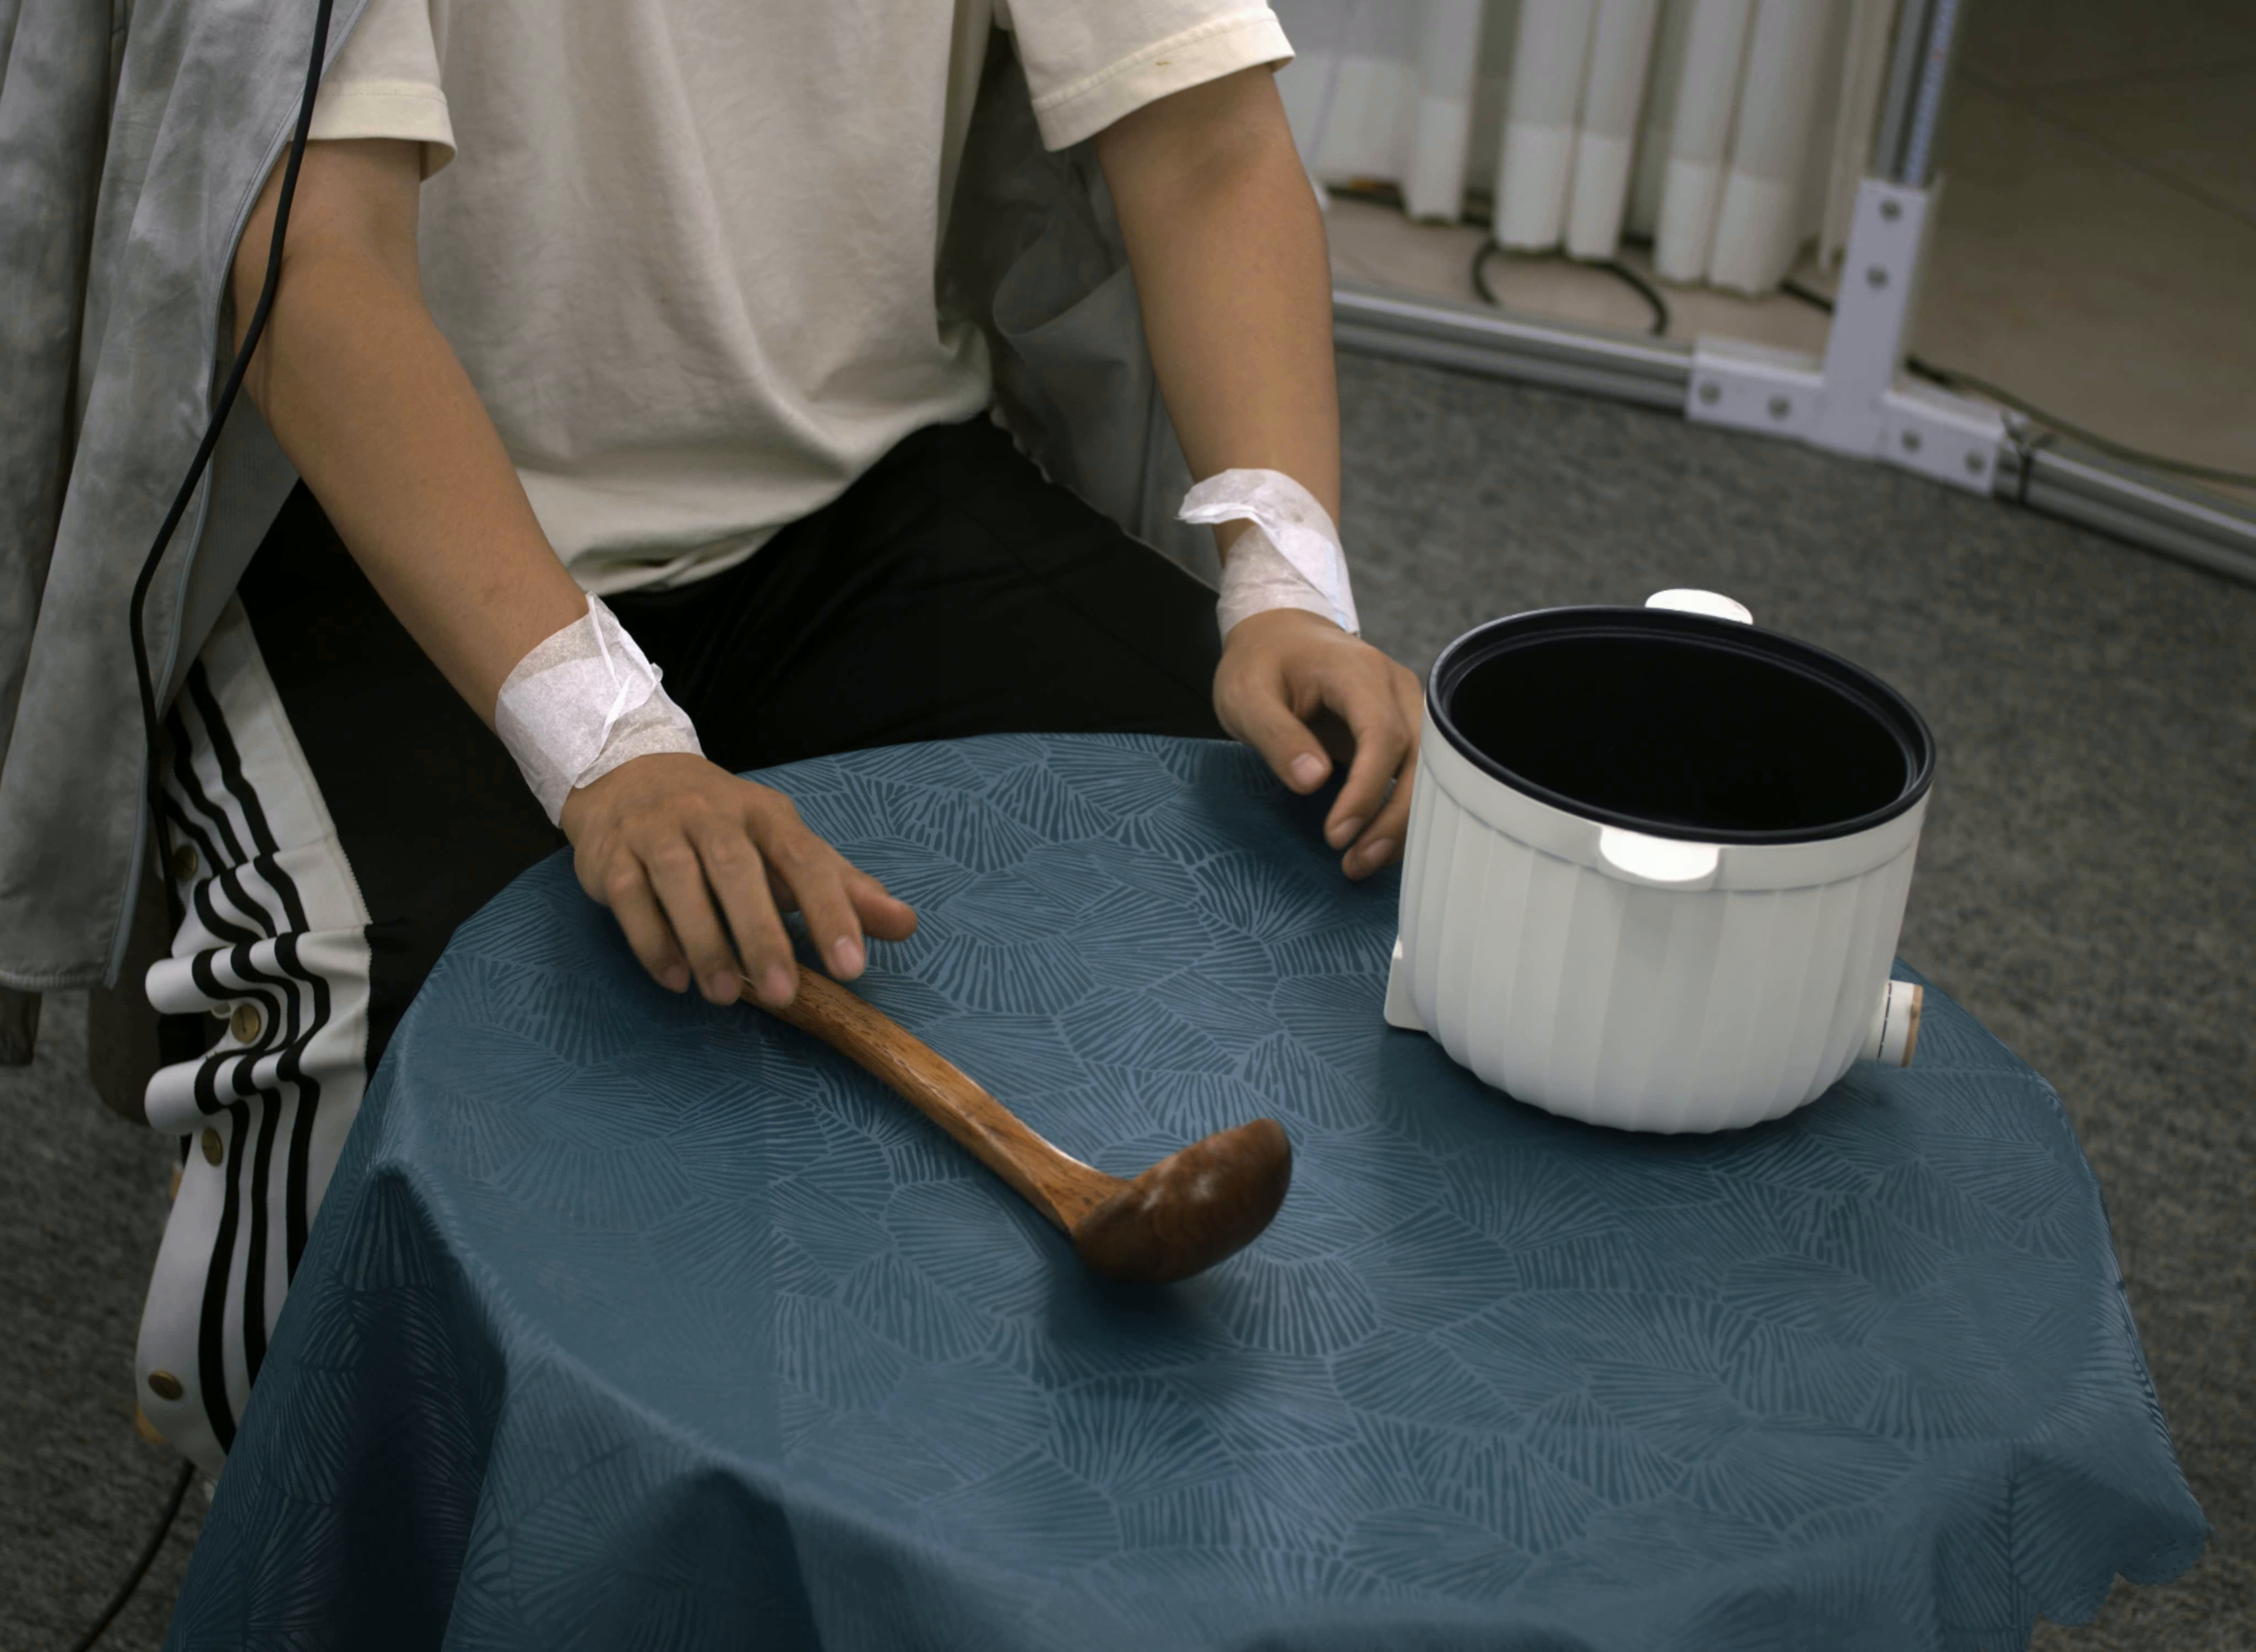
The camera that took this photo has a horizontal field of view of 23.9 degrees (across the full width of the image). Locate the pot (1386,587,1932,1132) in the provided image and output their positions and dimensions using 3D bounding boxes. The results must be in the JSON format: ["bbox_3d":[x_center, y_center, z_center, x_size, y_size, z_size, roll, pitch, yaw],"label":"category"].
[{"bbox_3d":[0.192,0.020,1.899,0.190,0.142,0.241,7,27,7],"label":"pot"}]

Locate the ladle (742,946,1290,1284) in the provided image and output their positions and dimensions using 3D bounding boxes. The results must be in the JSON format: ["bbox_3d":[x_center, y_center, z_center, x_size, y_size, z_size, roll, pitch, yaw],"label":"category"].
[{"bbox_3d":[-0.049,0.078,1.799,0.081,0.076,0.276,-14,33,-35],"label":"ladle"}]
